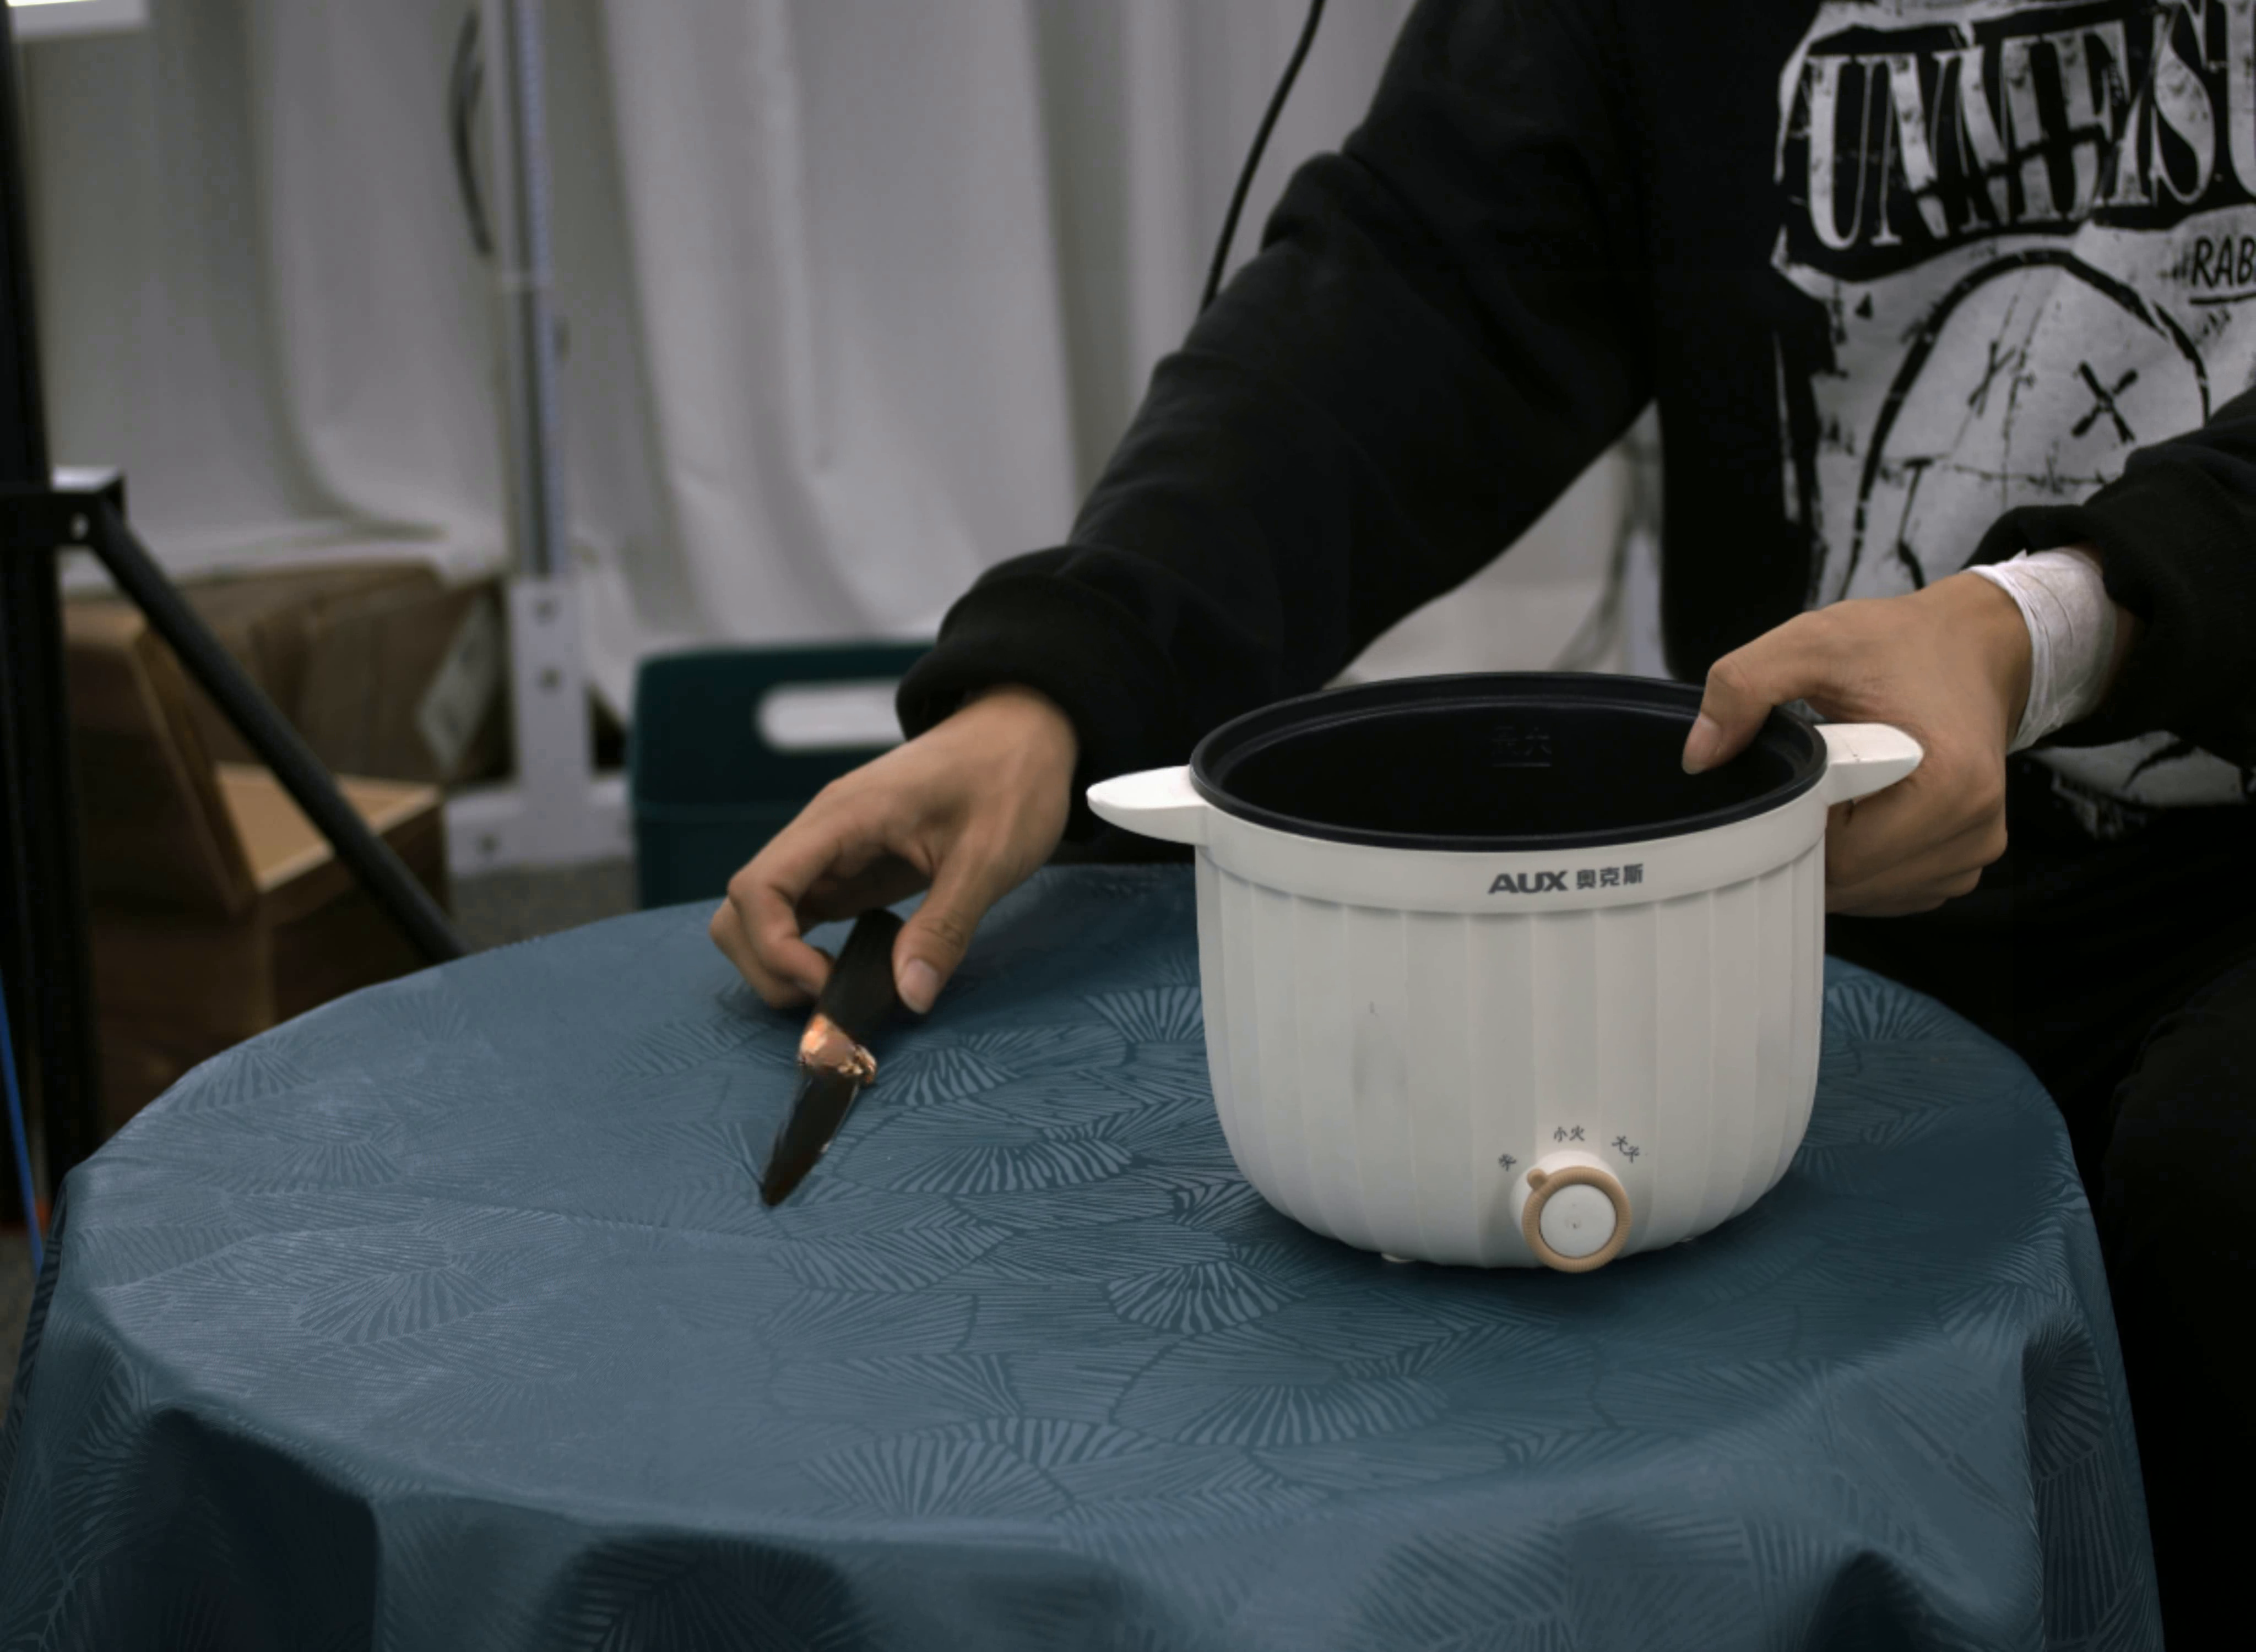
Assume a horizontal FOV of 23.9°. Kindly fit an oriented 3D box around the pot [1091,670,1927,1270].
[{"bbox_3d":[0.113,0.044,1.509,0.238,0.143,0.192,-5,12,-4],"label":"pot"}]

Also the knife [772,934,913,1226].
[{"bbox_3d":[-0.091,0.077,1.657,0.026,0.017,0.225,32,19,-4],"label":"knife"}]
